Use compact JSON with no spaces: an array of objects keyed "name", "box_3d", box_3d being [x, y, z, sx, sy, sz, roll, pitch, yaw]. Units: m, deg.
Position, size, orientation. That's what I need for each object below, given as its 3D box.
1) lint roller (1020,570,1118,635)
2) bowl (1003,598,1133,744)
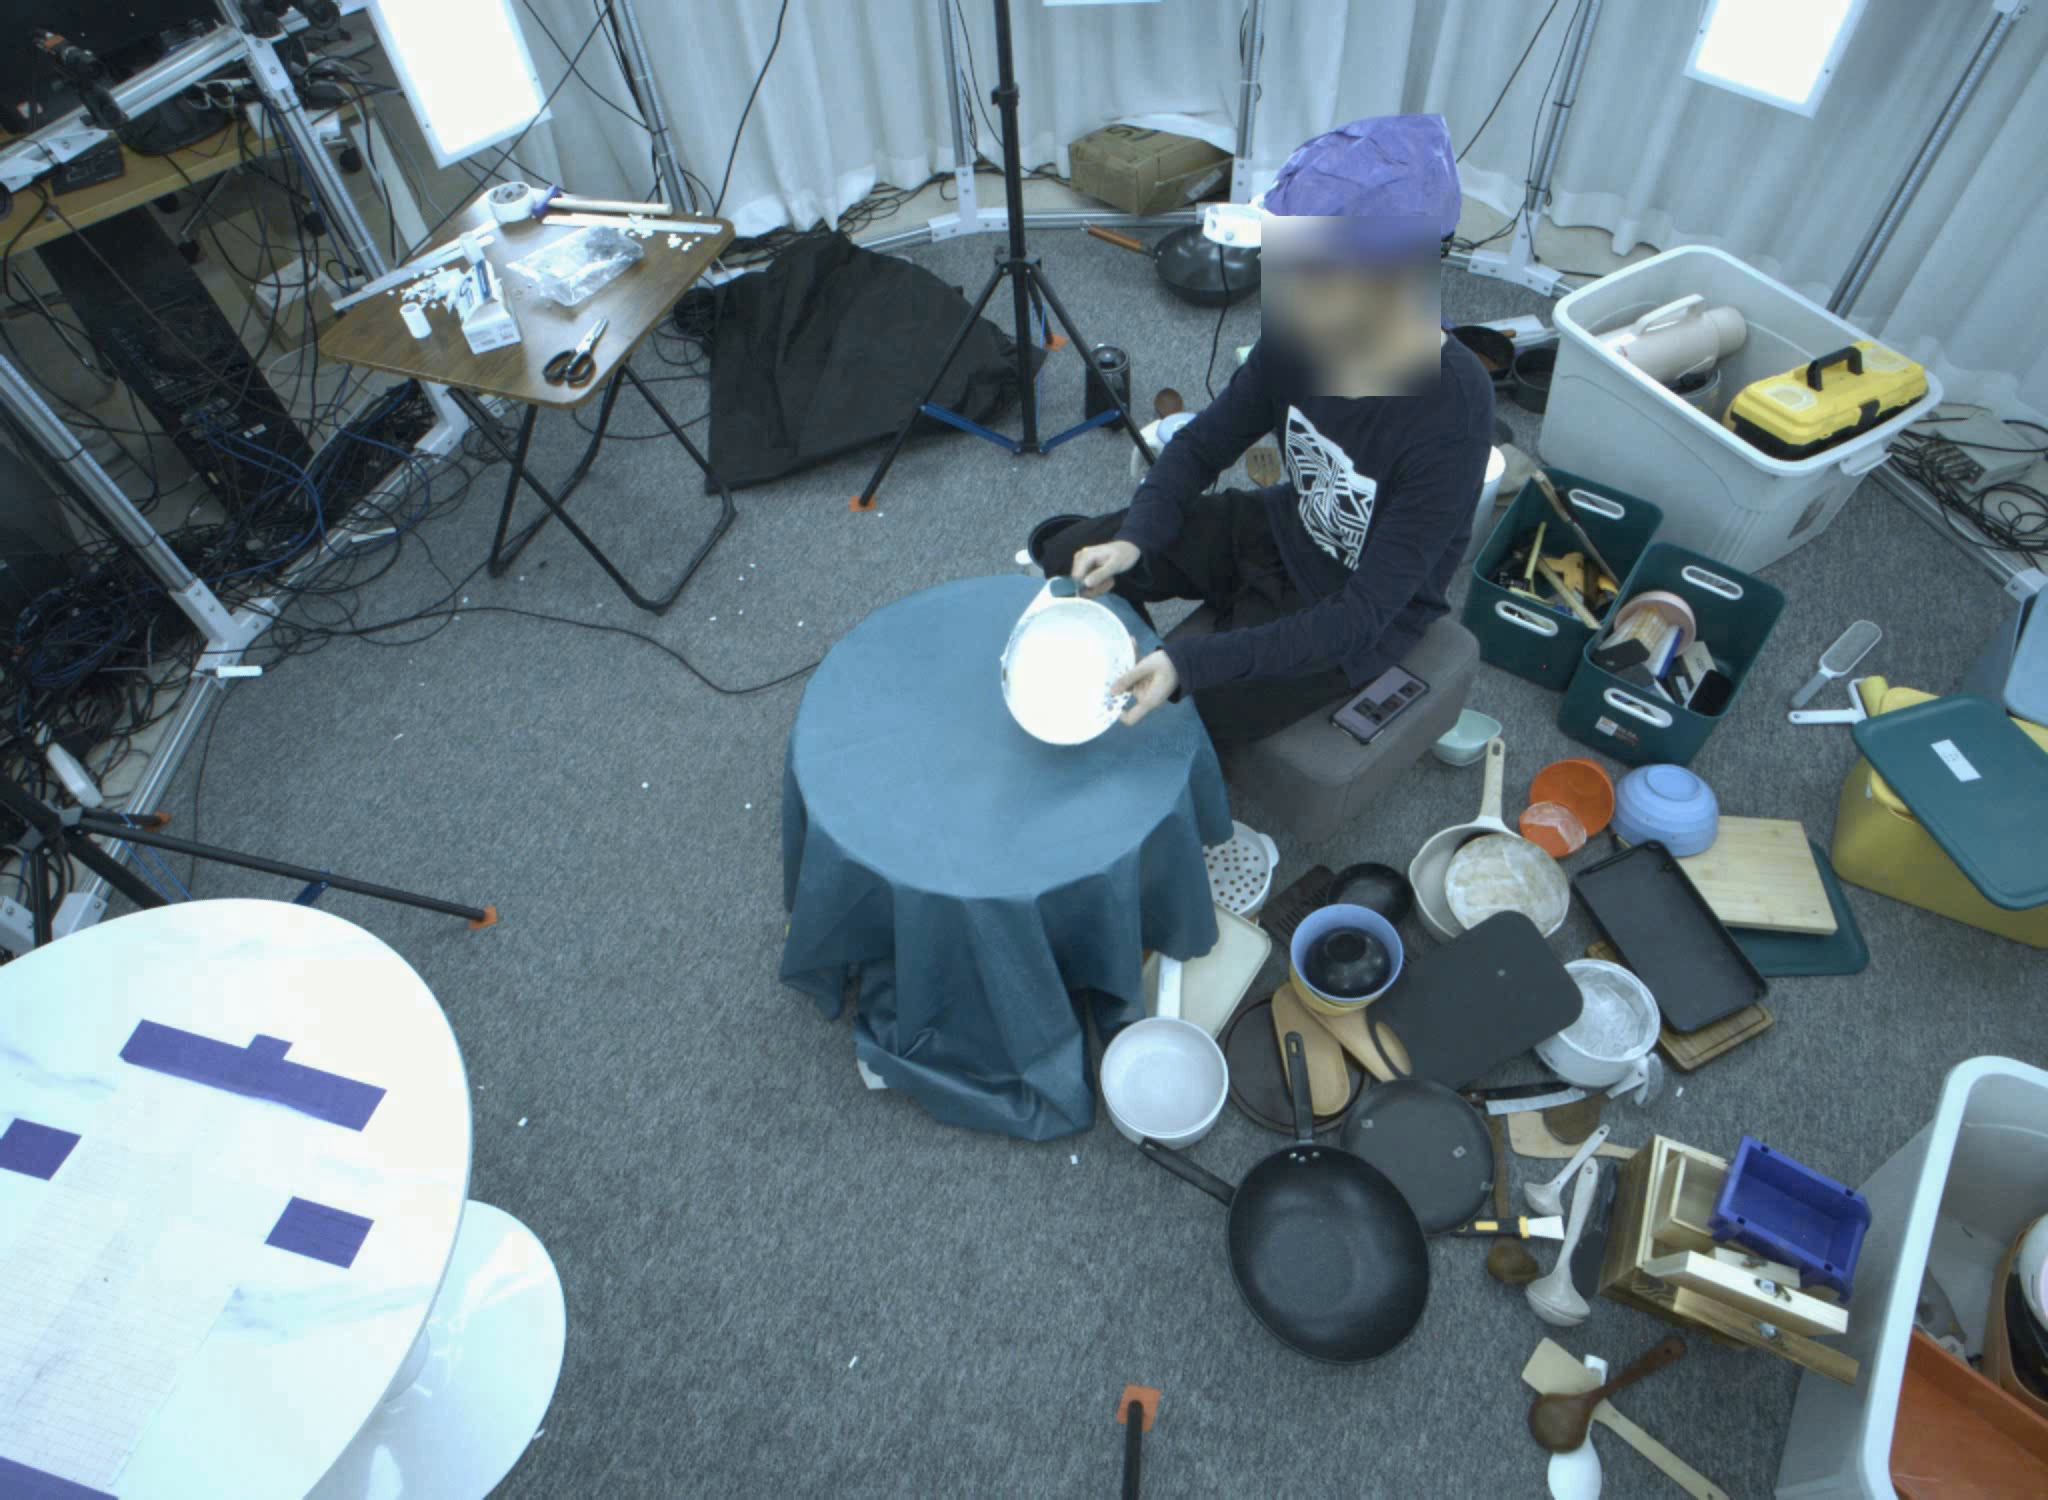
[{"name":"lint roller","box_3d":[0.073,-0.232,1.781,0.048,0.133,0.181,45,50,1]},{"name":"bowl","box_3d":[0.047,-0.114,1.730,0.205,0.207,0.076,-33,24,-19]}]
